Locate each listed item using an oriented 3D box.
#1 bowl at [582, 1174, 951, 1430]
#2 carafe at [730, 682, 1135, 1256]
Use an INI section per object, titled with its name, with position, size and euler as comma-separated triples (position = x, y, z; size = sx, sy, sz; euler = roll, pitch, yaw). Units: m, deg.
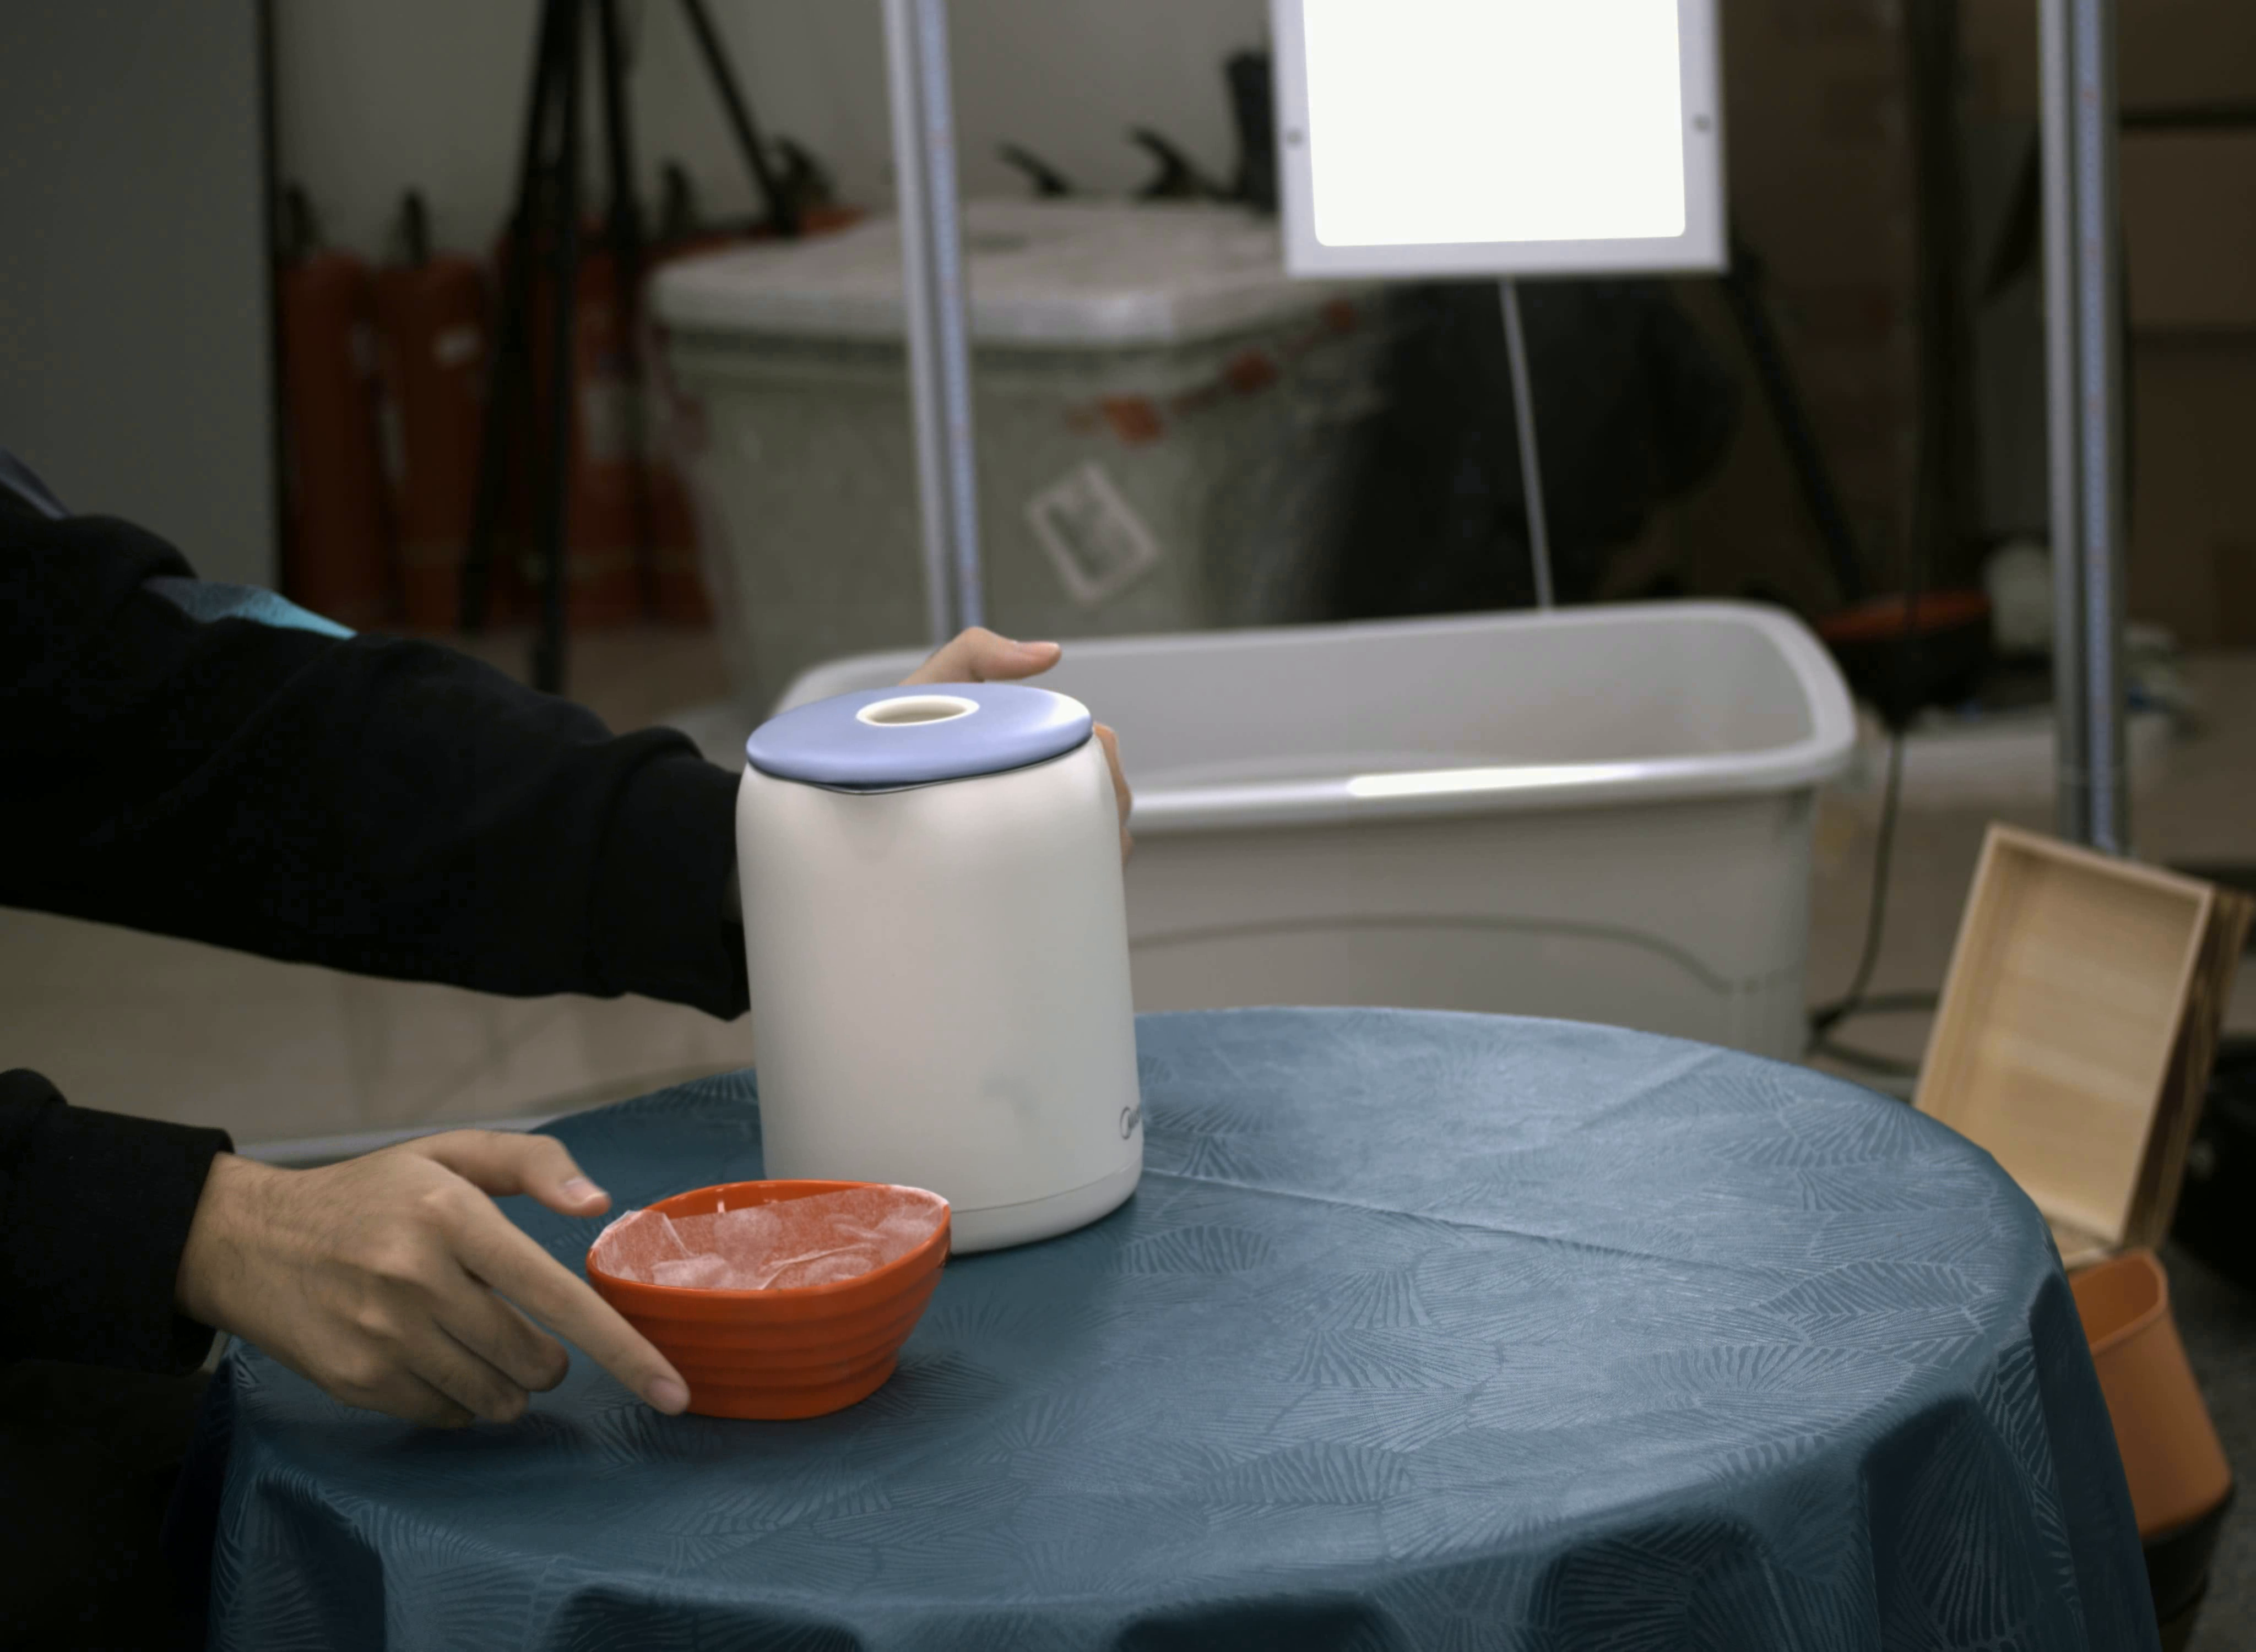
[bowl]
position = -0.111, 0.152, 1.730
size = 0.118, 0.051, 0.119
euler = -4, 18, 0
[carafe]
position = -0.062, 0.043, 1.903
size = 0.133, 0.183, 0.188
euler = 0, 12, 13
